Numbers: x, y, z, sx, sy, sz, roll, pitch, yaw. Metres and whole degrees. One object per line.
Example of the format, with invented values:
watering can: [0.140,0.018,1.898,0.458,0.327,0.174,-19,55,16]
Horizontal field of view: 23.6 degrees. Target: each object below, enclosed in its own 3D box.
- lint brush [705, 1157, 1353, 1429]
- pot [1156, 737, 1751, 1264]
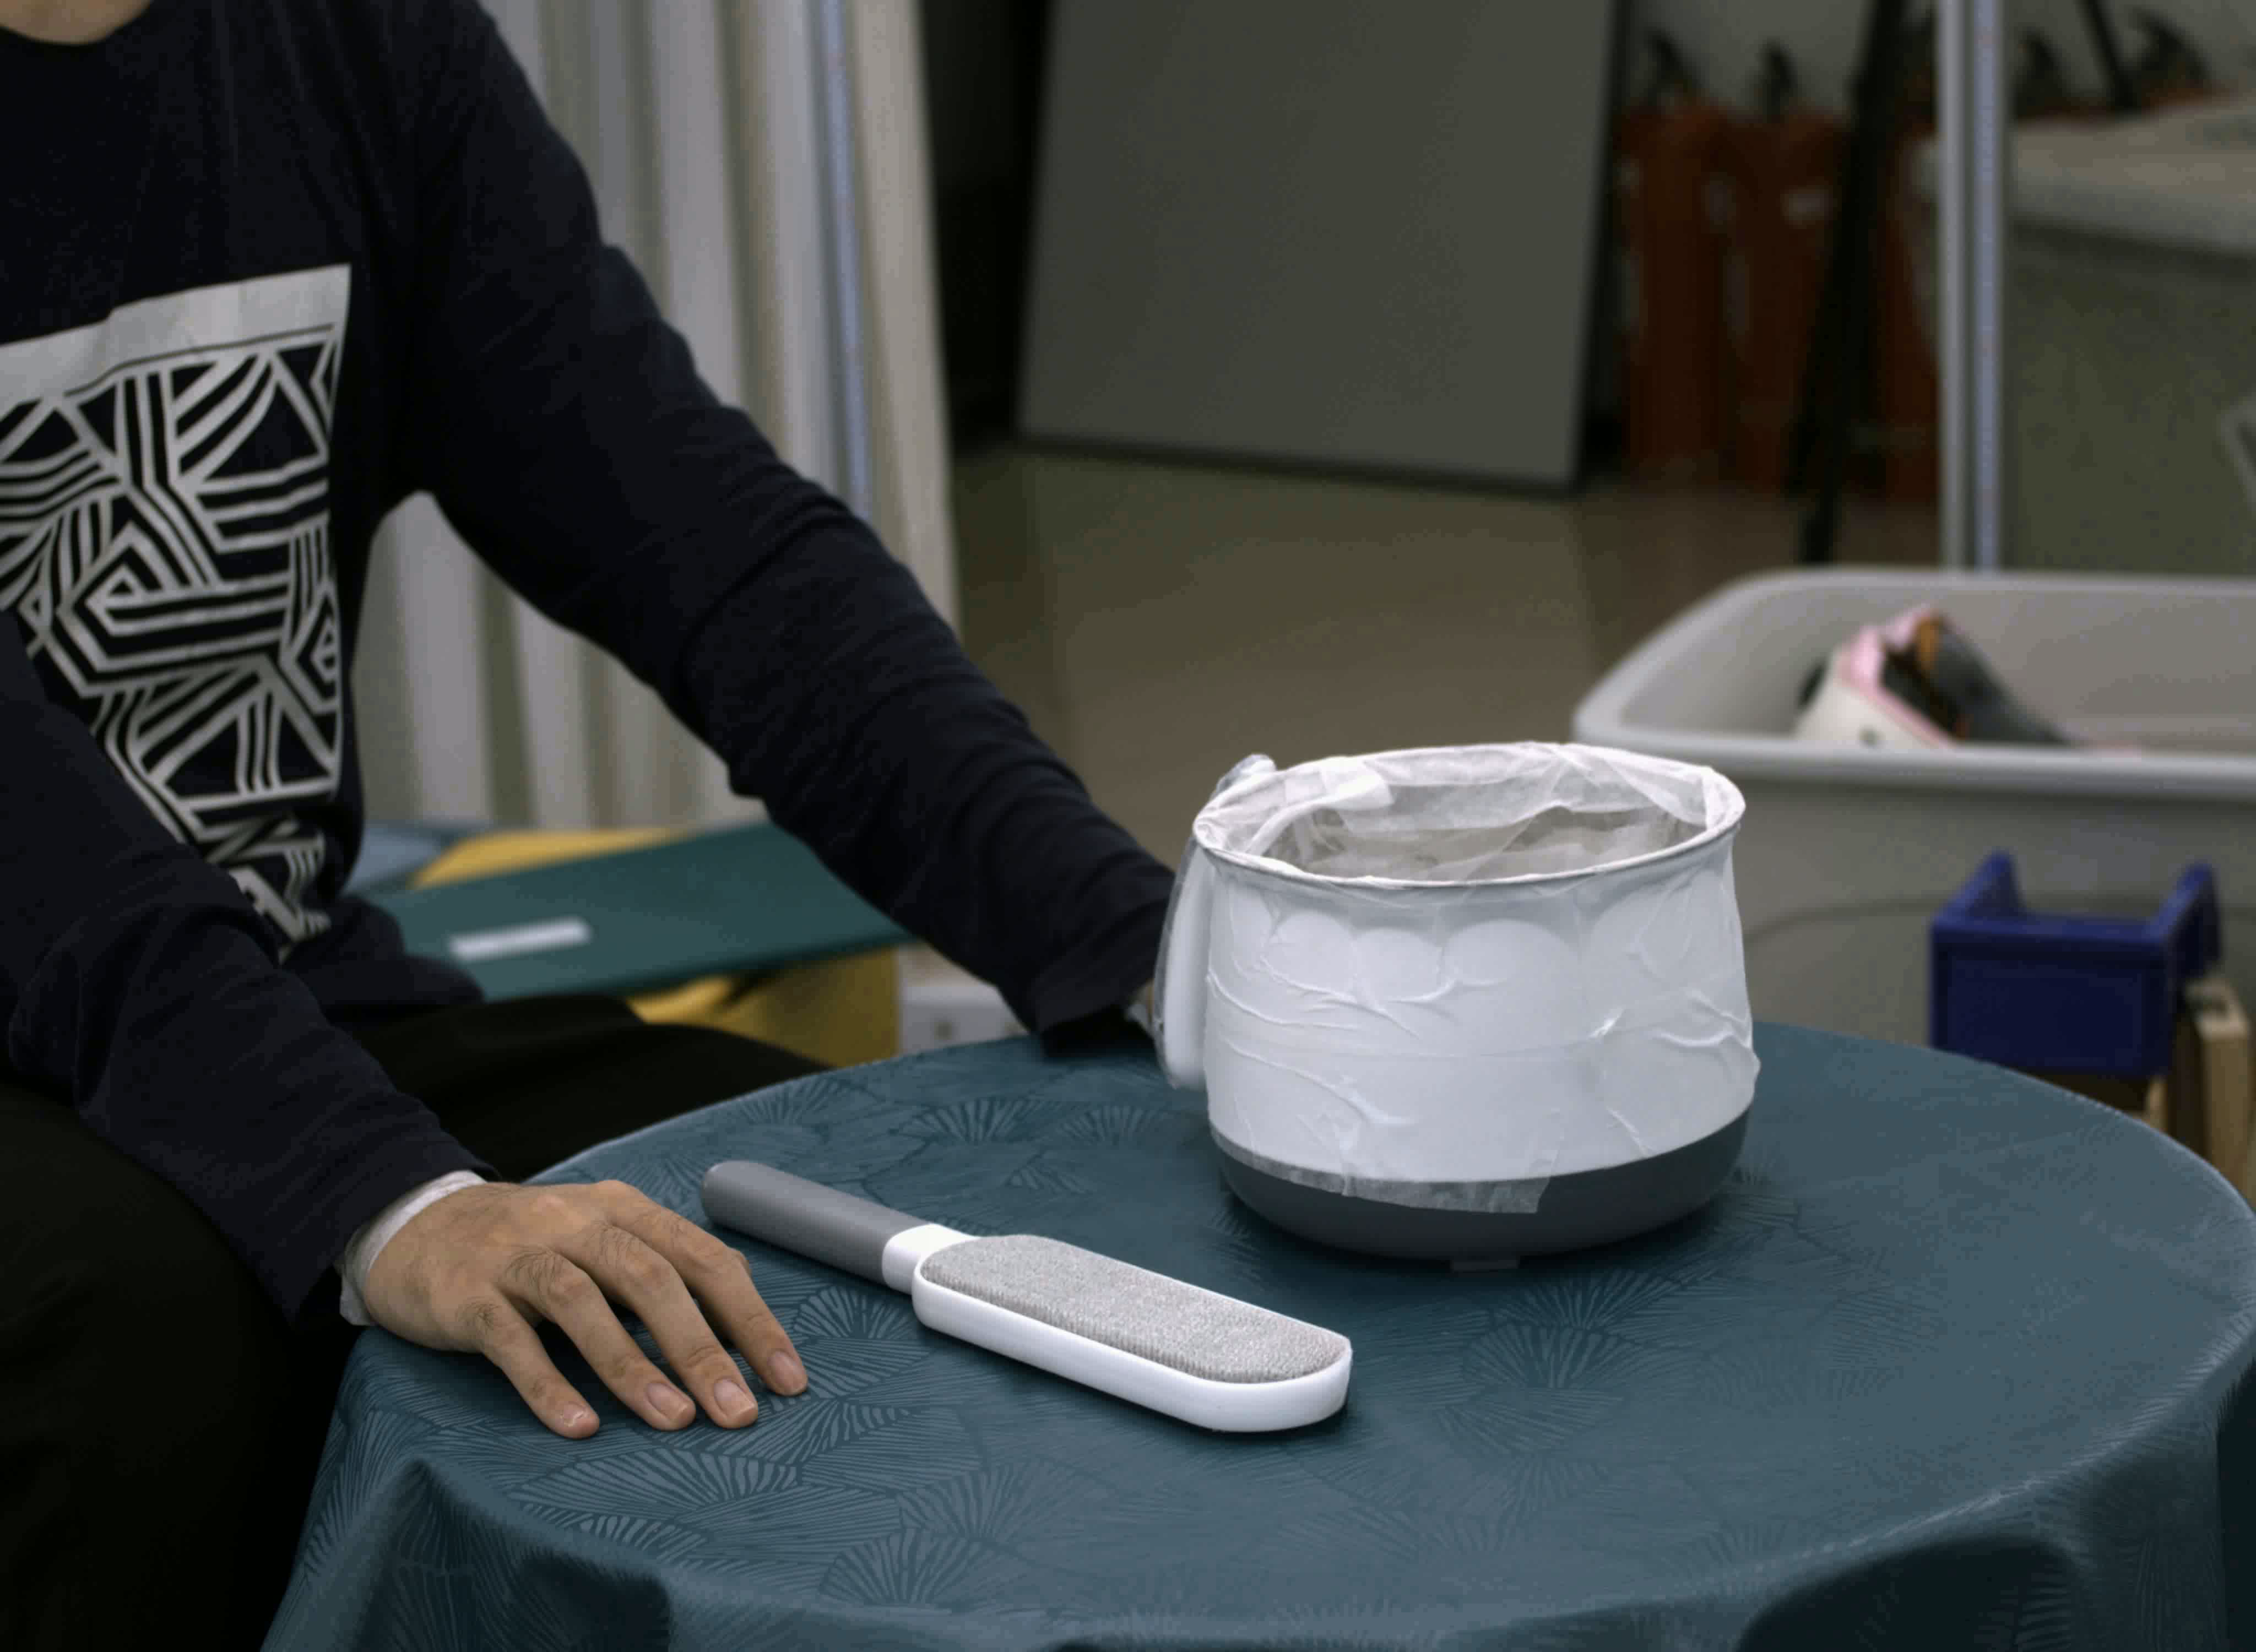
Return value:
lint brush: [-0.038,0.139,1.656,0.059,0.021,0.312,-21,20,-33]
pot: [0.093,0.050,1.742,0.175,0.138,0.236,-12,16,-40]
